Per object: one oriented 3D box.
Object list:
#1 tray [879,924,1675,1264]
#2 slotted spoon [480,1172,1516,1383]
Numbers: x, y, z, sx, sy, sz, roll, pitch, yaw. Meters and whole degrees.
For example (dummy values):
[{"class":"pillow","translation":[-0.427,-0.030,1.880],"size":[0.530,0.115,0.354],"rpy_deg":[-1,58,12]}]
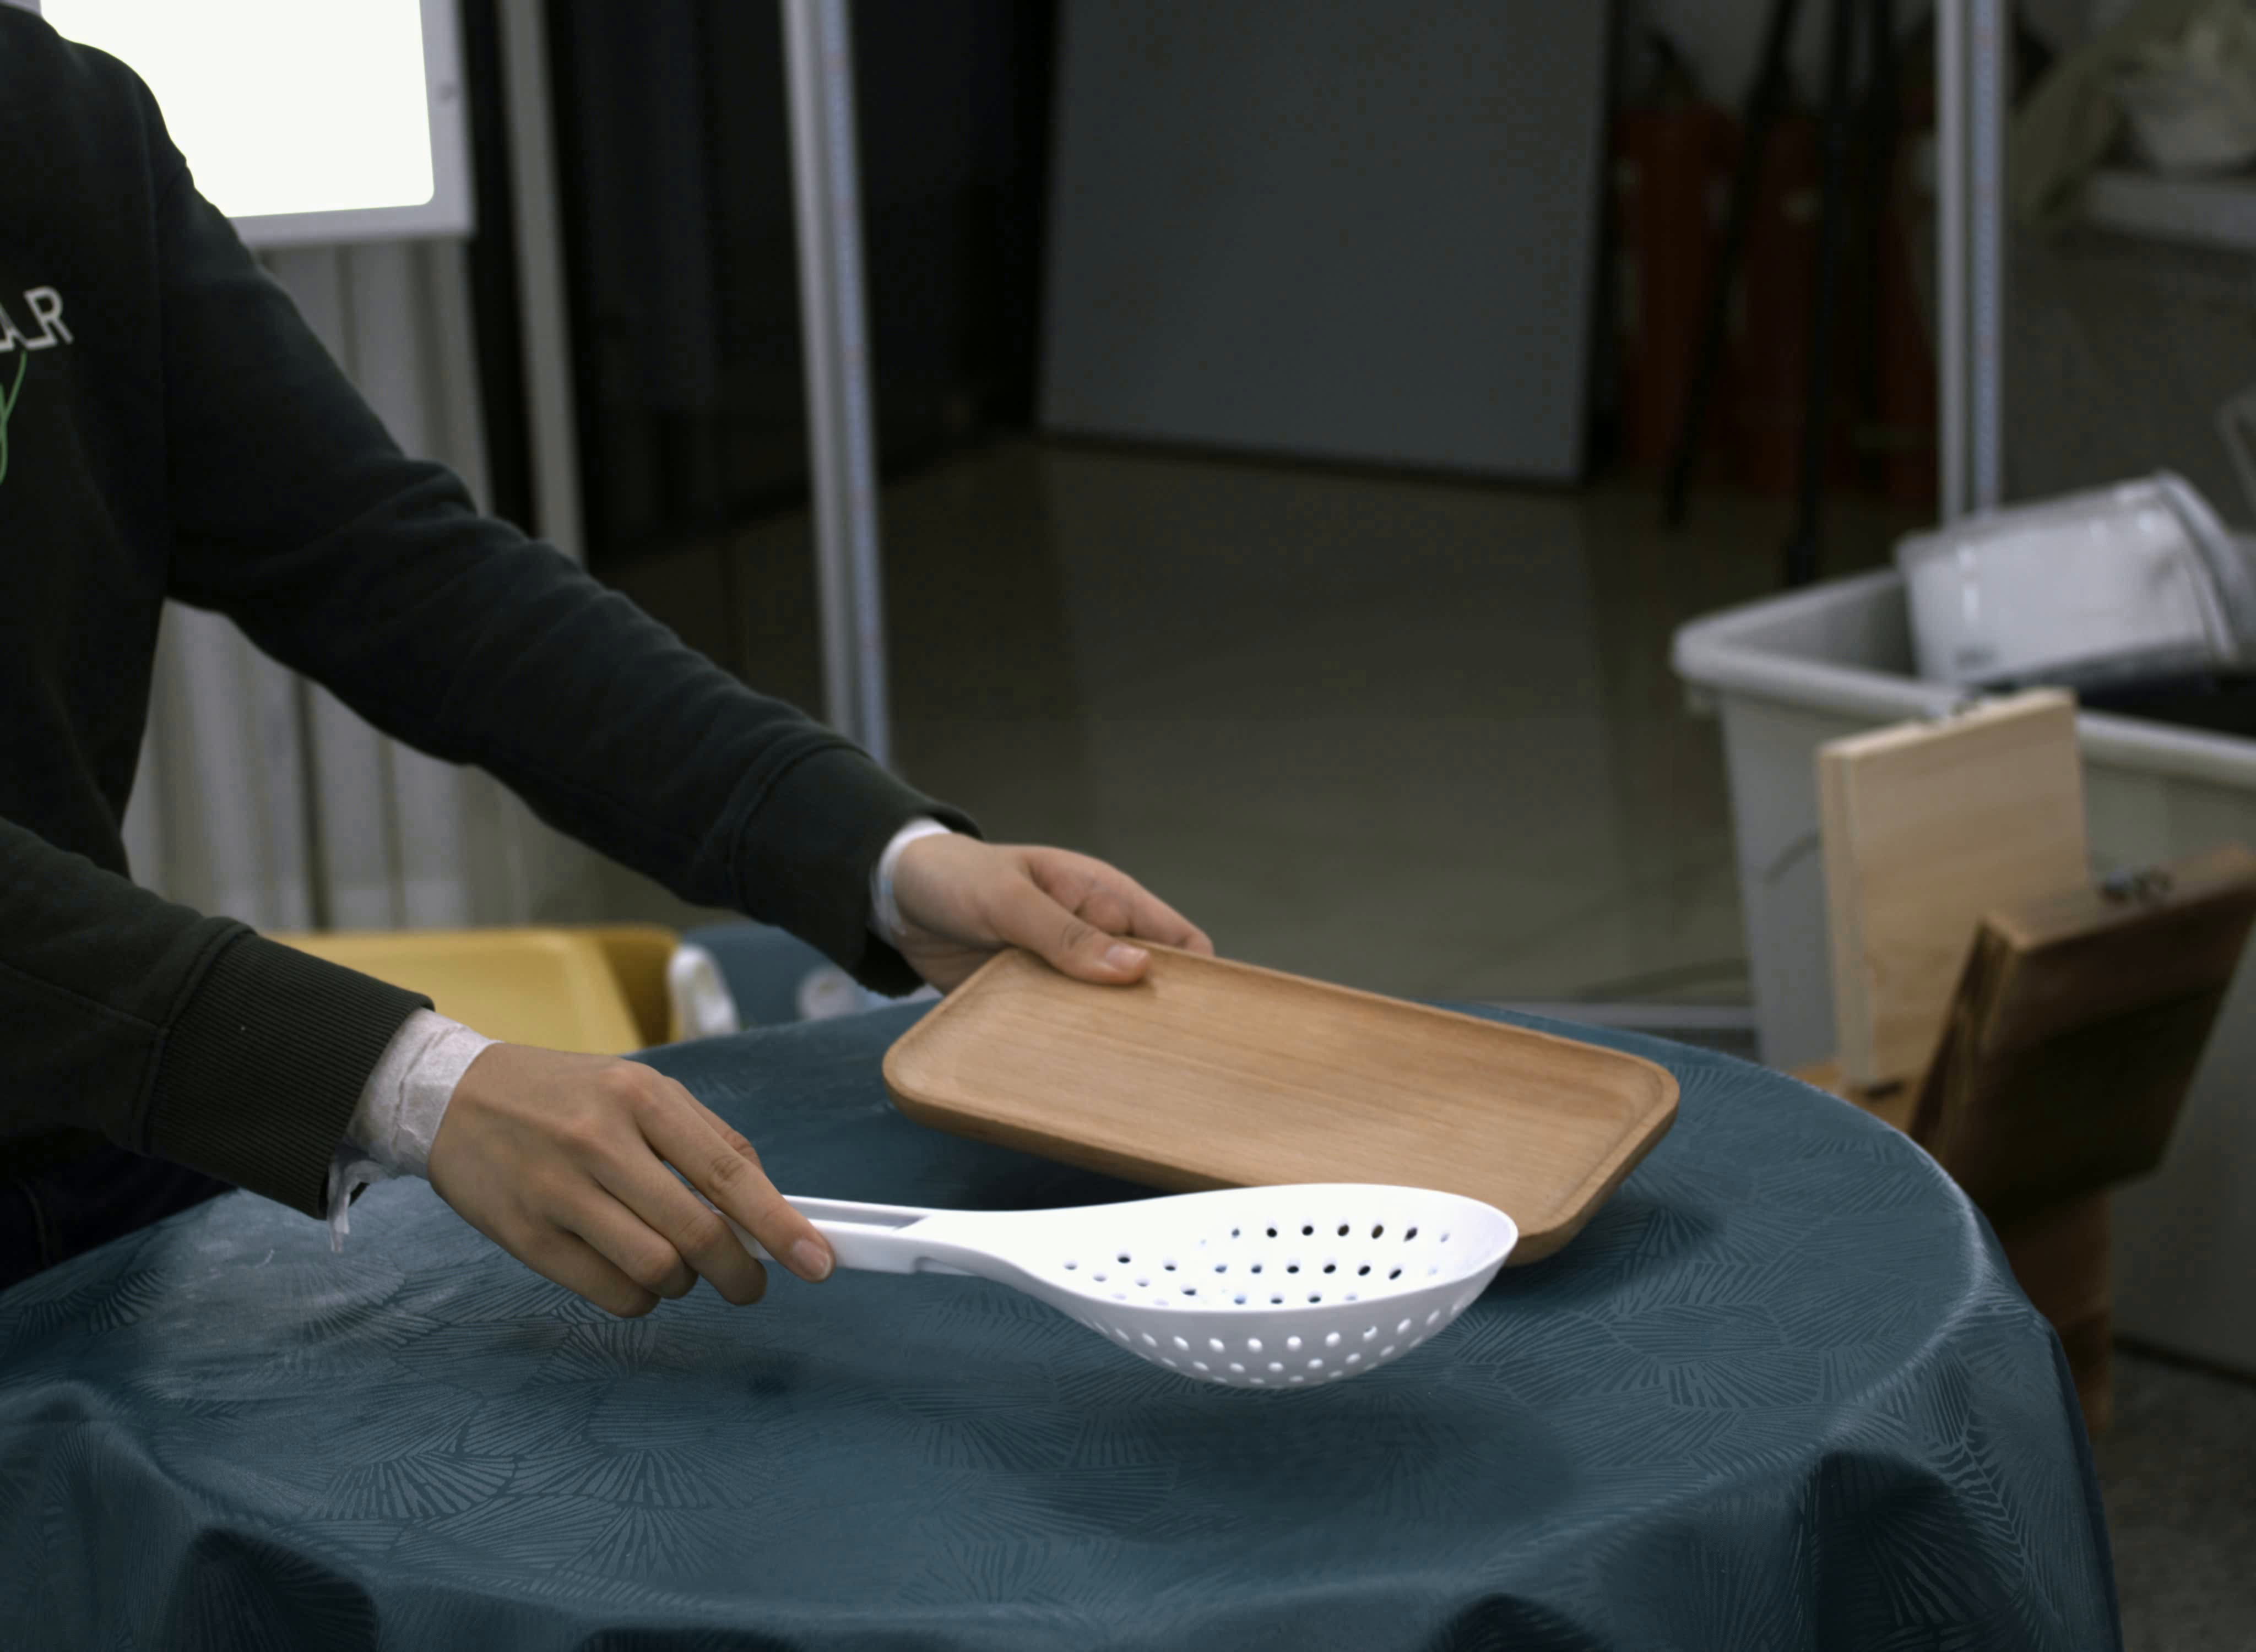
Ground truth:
[{"class":"tray","translation":[0.047,0.085,1.739],"size":[0.252,0.023,0.129],"rpy_deg":[11,29,29]},{"class":"slotted spoon","translation":[-0.048,0.122,1.590],"size":[0.351,0.046,0.134],"rpy_deg":[7,13,31]}]
